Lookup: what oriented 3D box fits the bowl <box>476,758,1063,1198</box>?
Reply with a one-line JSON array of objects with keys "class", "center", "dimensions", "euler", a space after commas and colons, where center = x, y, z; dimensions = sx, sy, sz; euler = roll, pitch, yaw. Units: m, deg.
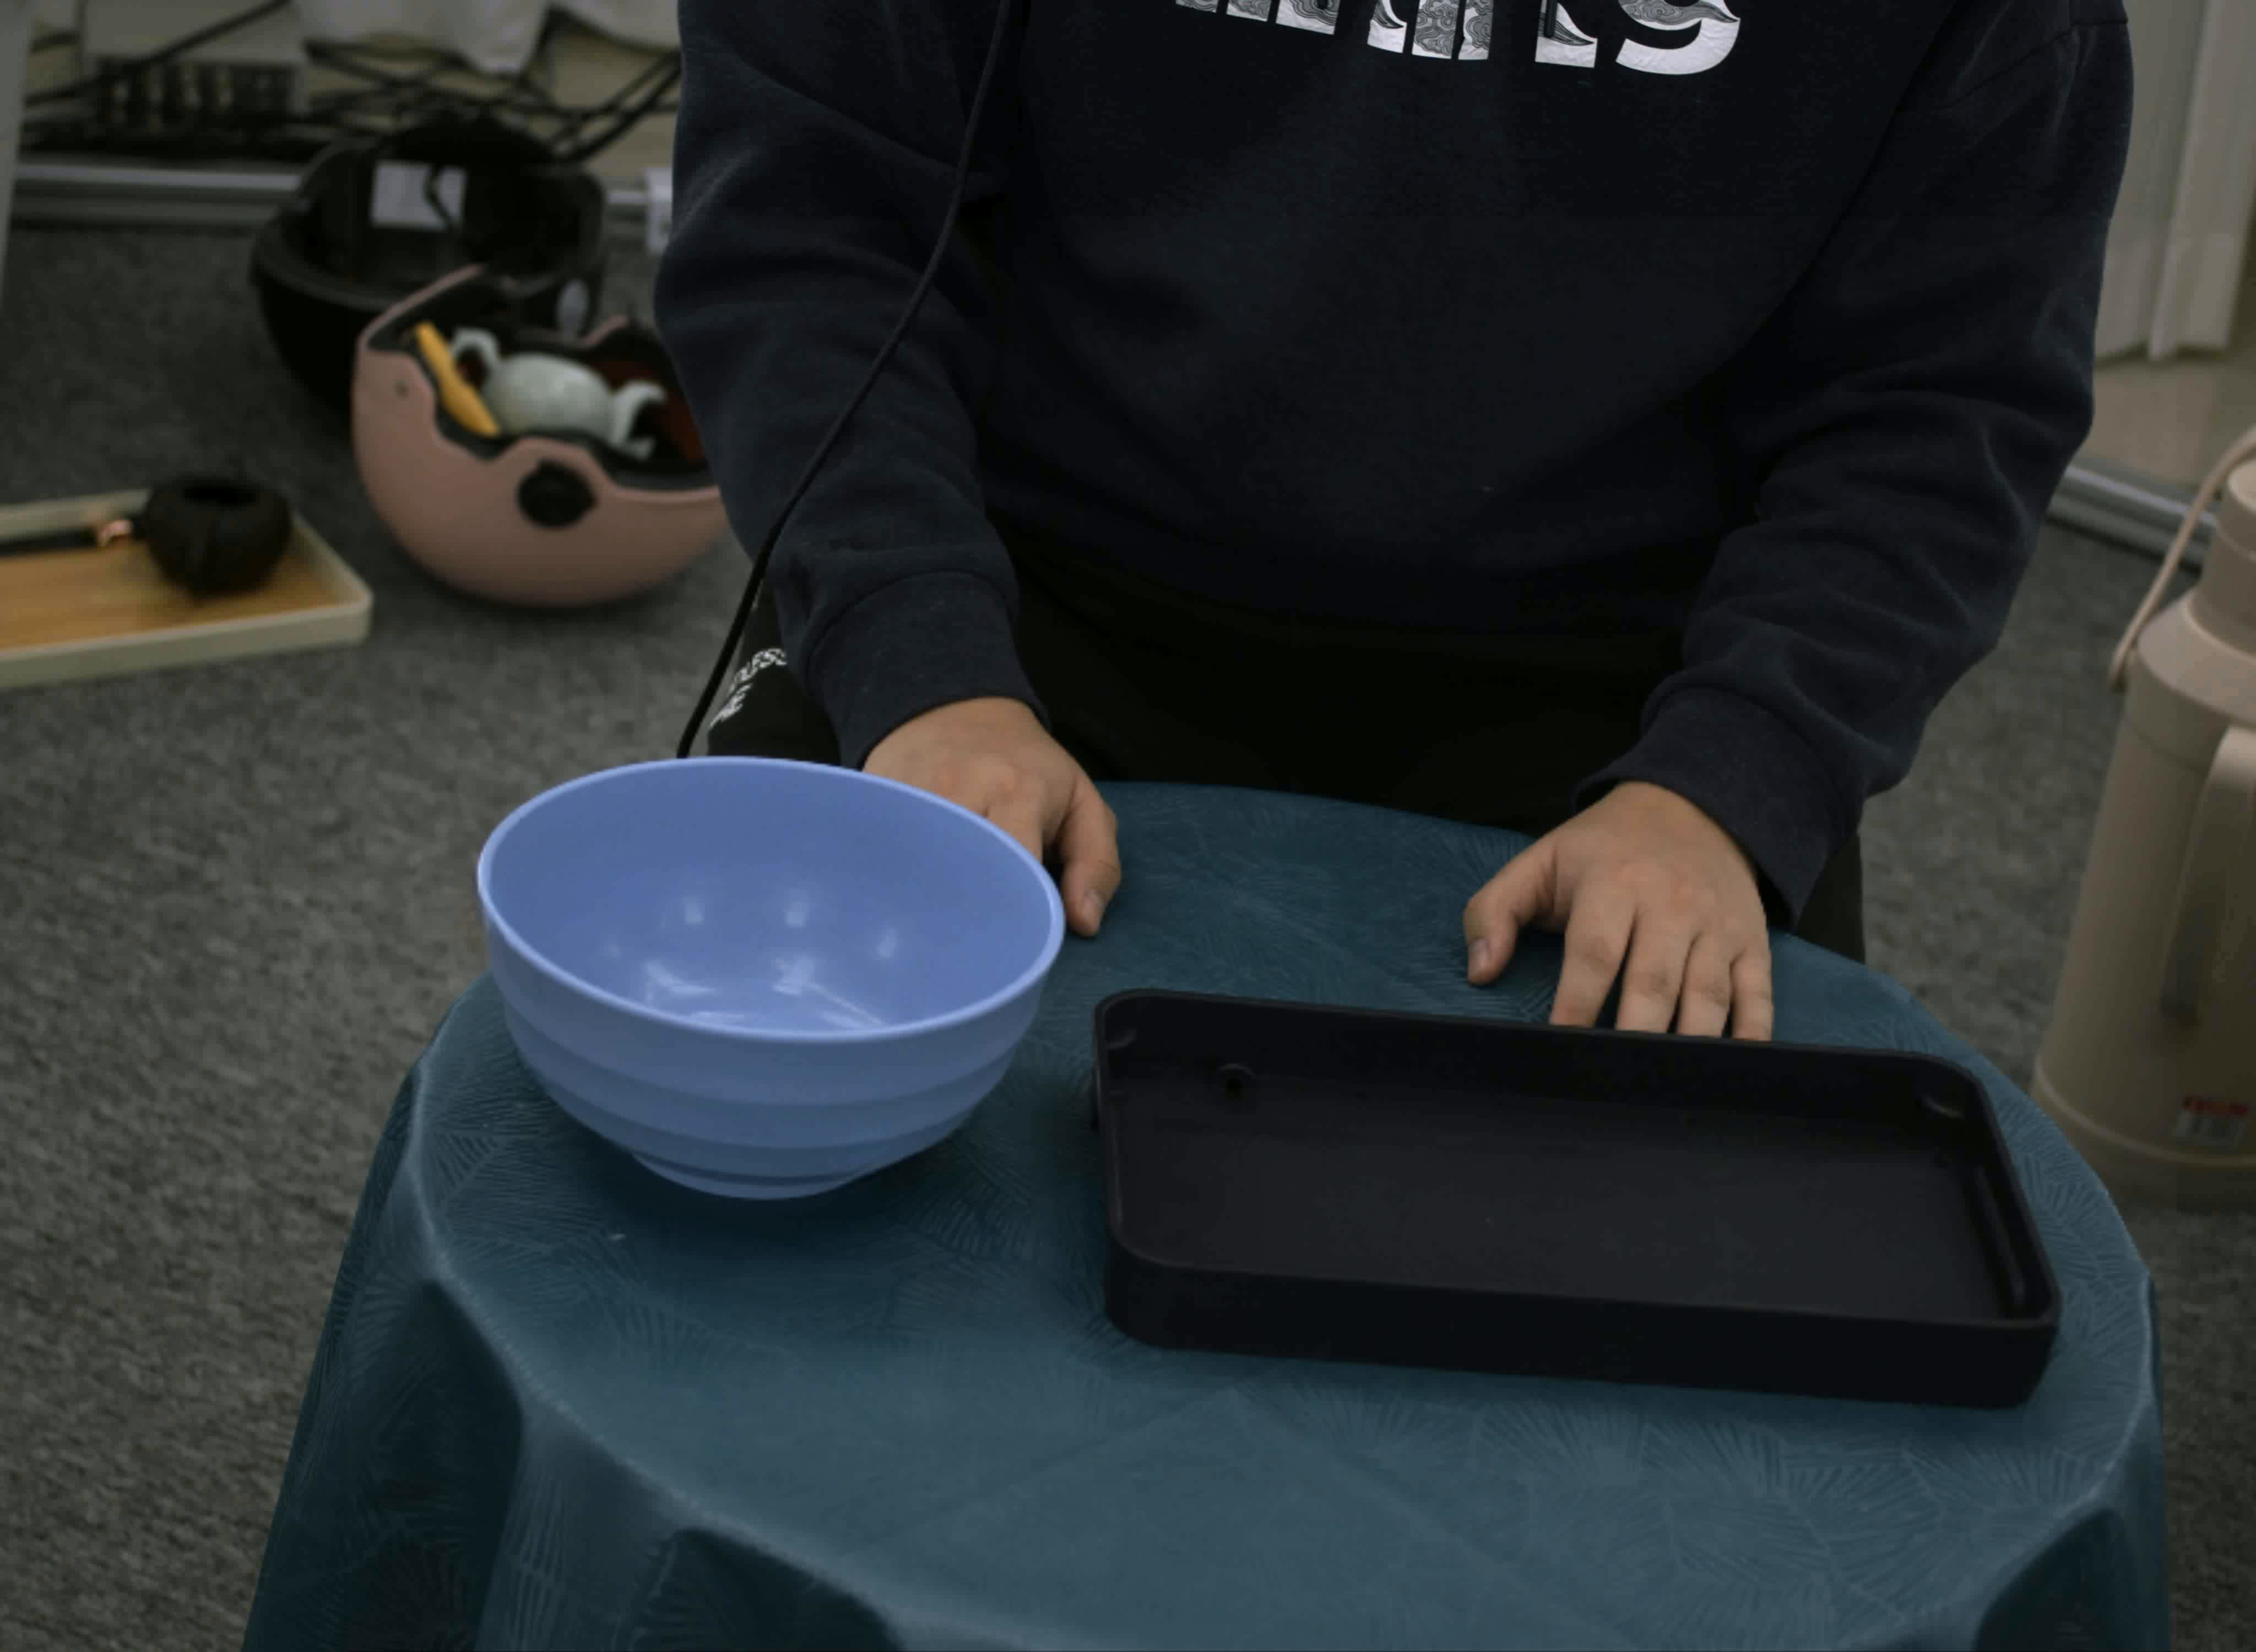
[{"class": "bowl", "center": [-0.123, 0.061, 1.793], "dimensions": [0.196, 0.095, 0.197], "euler": [4, 27, -2]}]

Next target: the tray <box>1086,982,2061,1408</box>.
[{"class": "tray", "center": [0.144, 0.123, 1.800], "dimensions": [0.317, 0.037, 0.185], "euler": [5, 27, -5]}]
